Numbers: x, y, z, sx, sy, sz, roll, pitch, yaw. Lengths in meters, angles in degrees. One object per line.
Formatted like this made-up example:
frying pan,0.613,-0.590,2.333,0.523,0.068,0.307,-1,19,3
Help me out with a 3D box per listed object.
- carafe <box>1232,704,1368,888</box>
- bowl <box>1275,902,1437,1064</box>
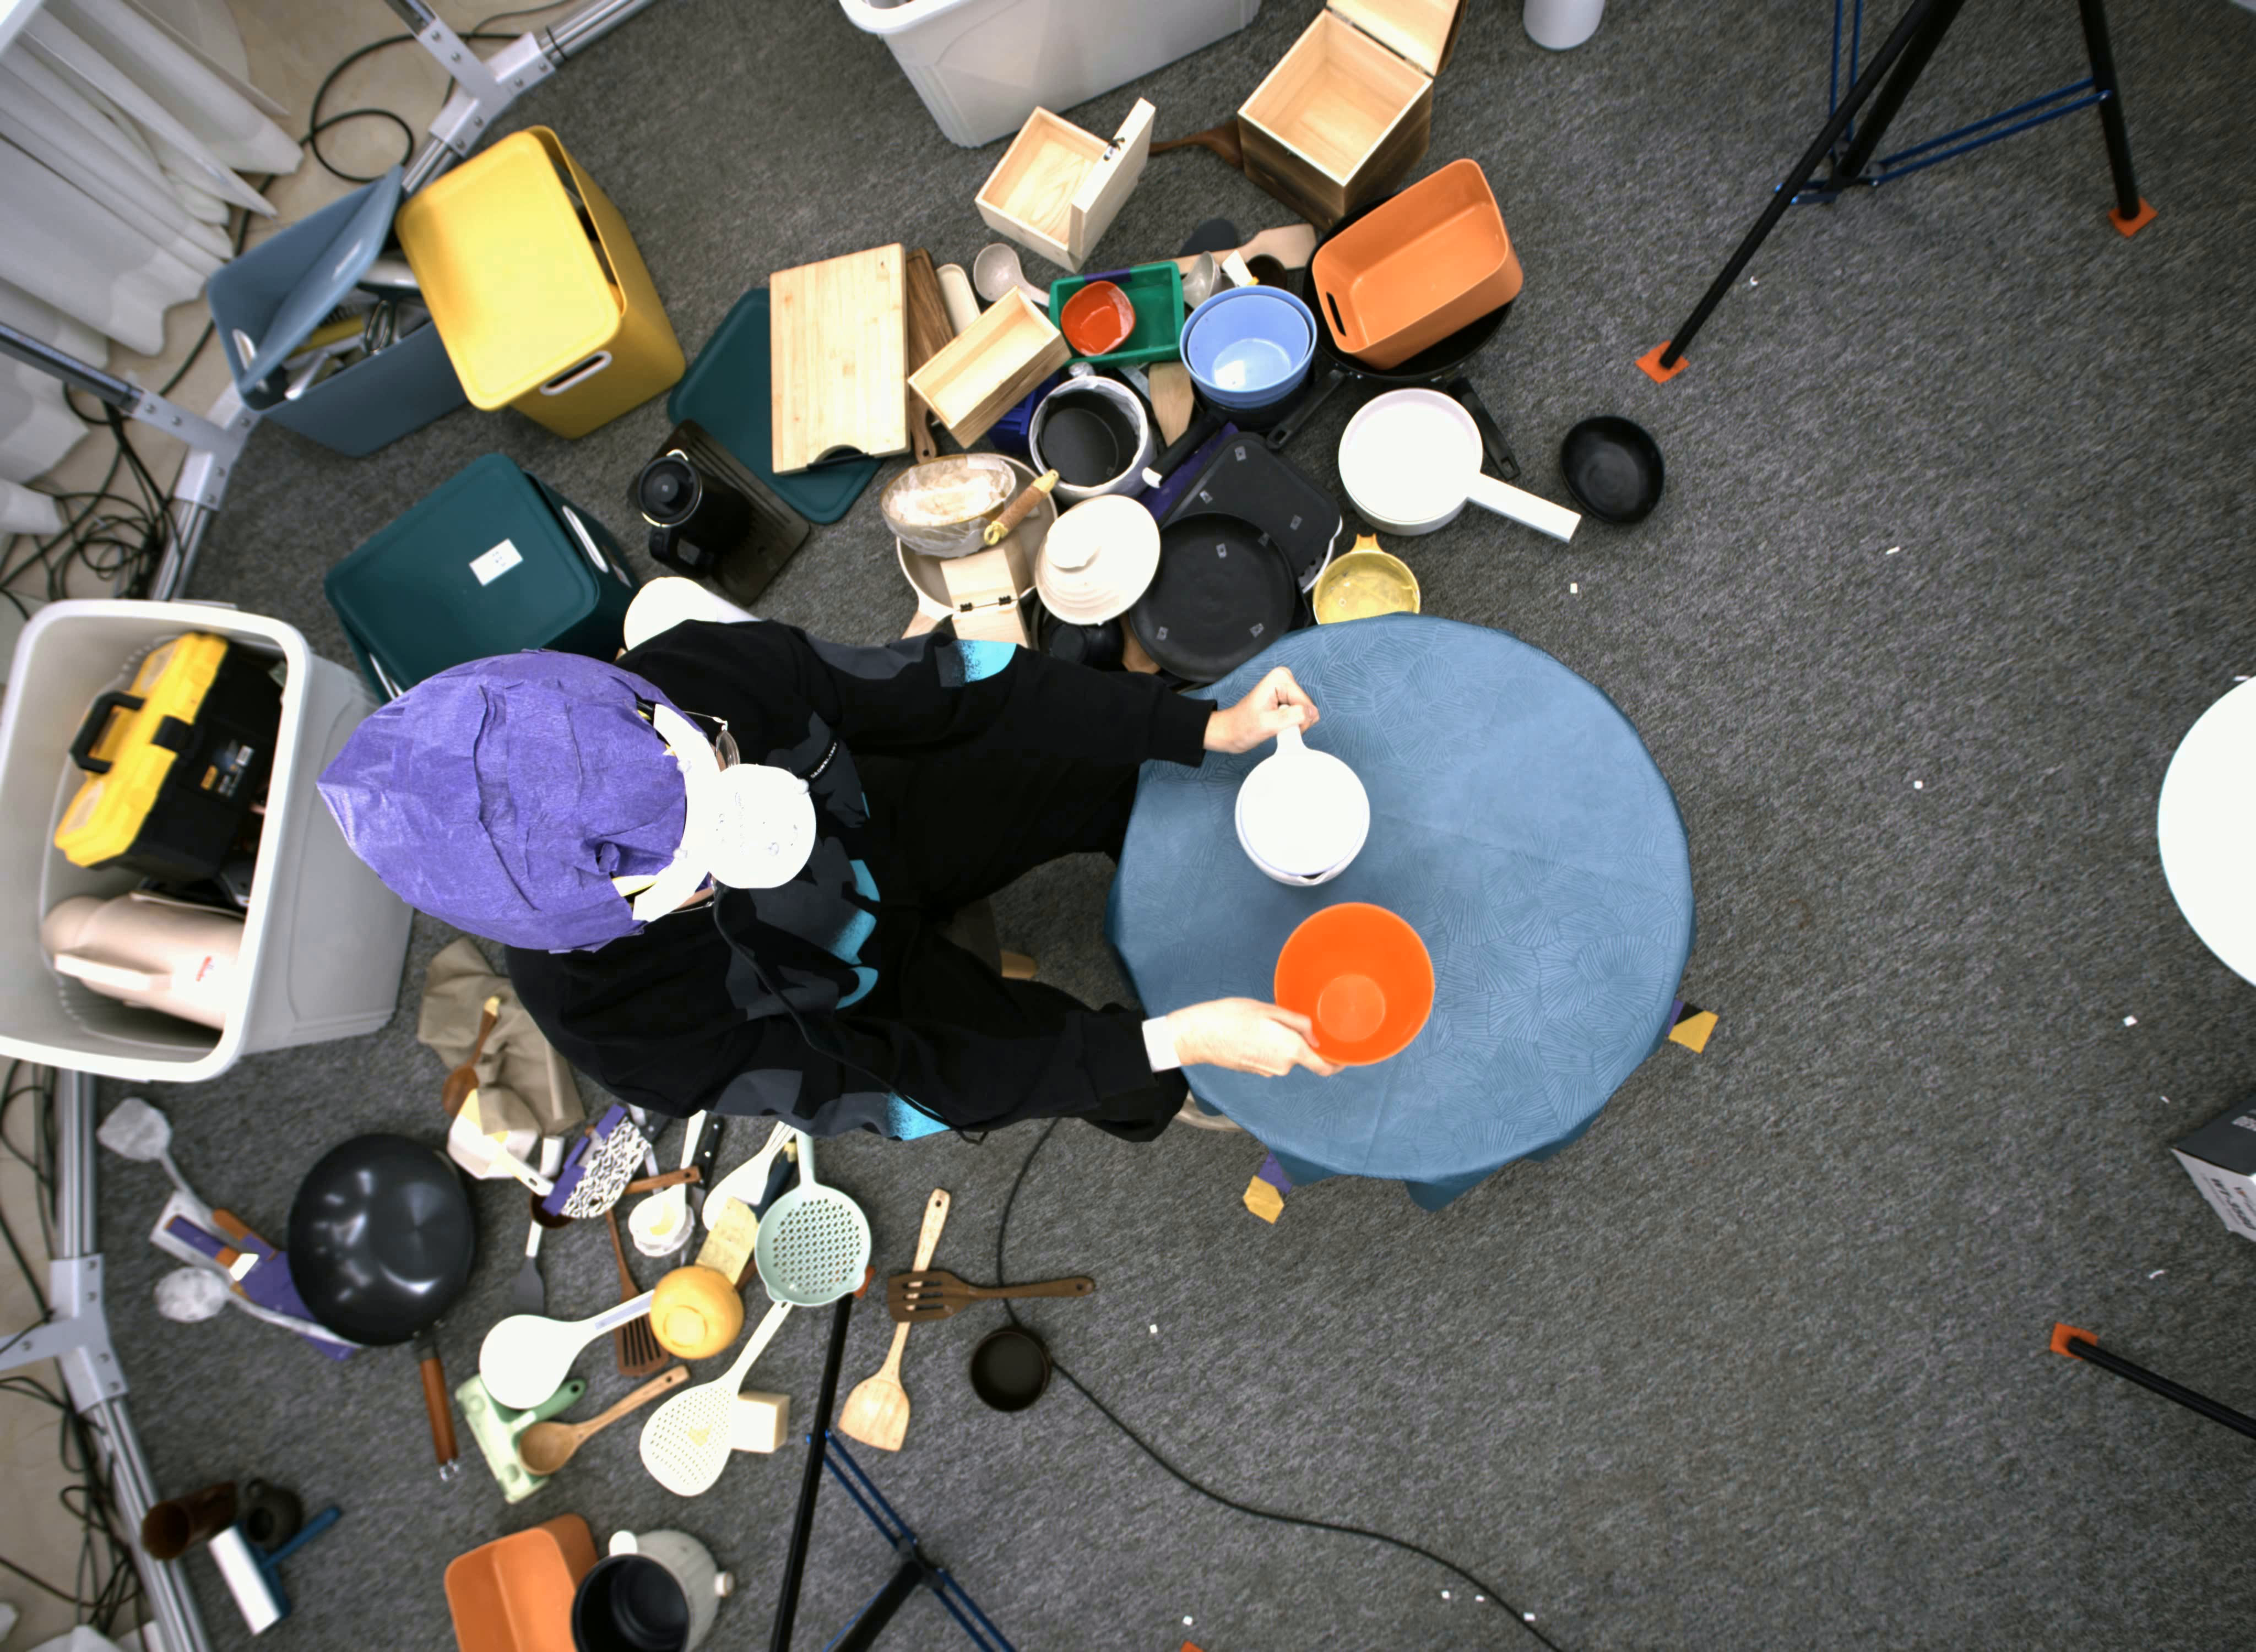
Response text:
carafe,0.168,-0.030,1.389,0.133,0.183,0.190,-11,84,6
bowl,0.216,0.154,1.299,0.149,0.105,0.146,-4,73,14
